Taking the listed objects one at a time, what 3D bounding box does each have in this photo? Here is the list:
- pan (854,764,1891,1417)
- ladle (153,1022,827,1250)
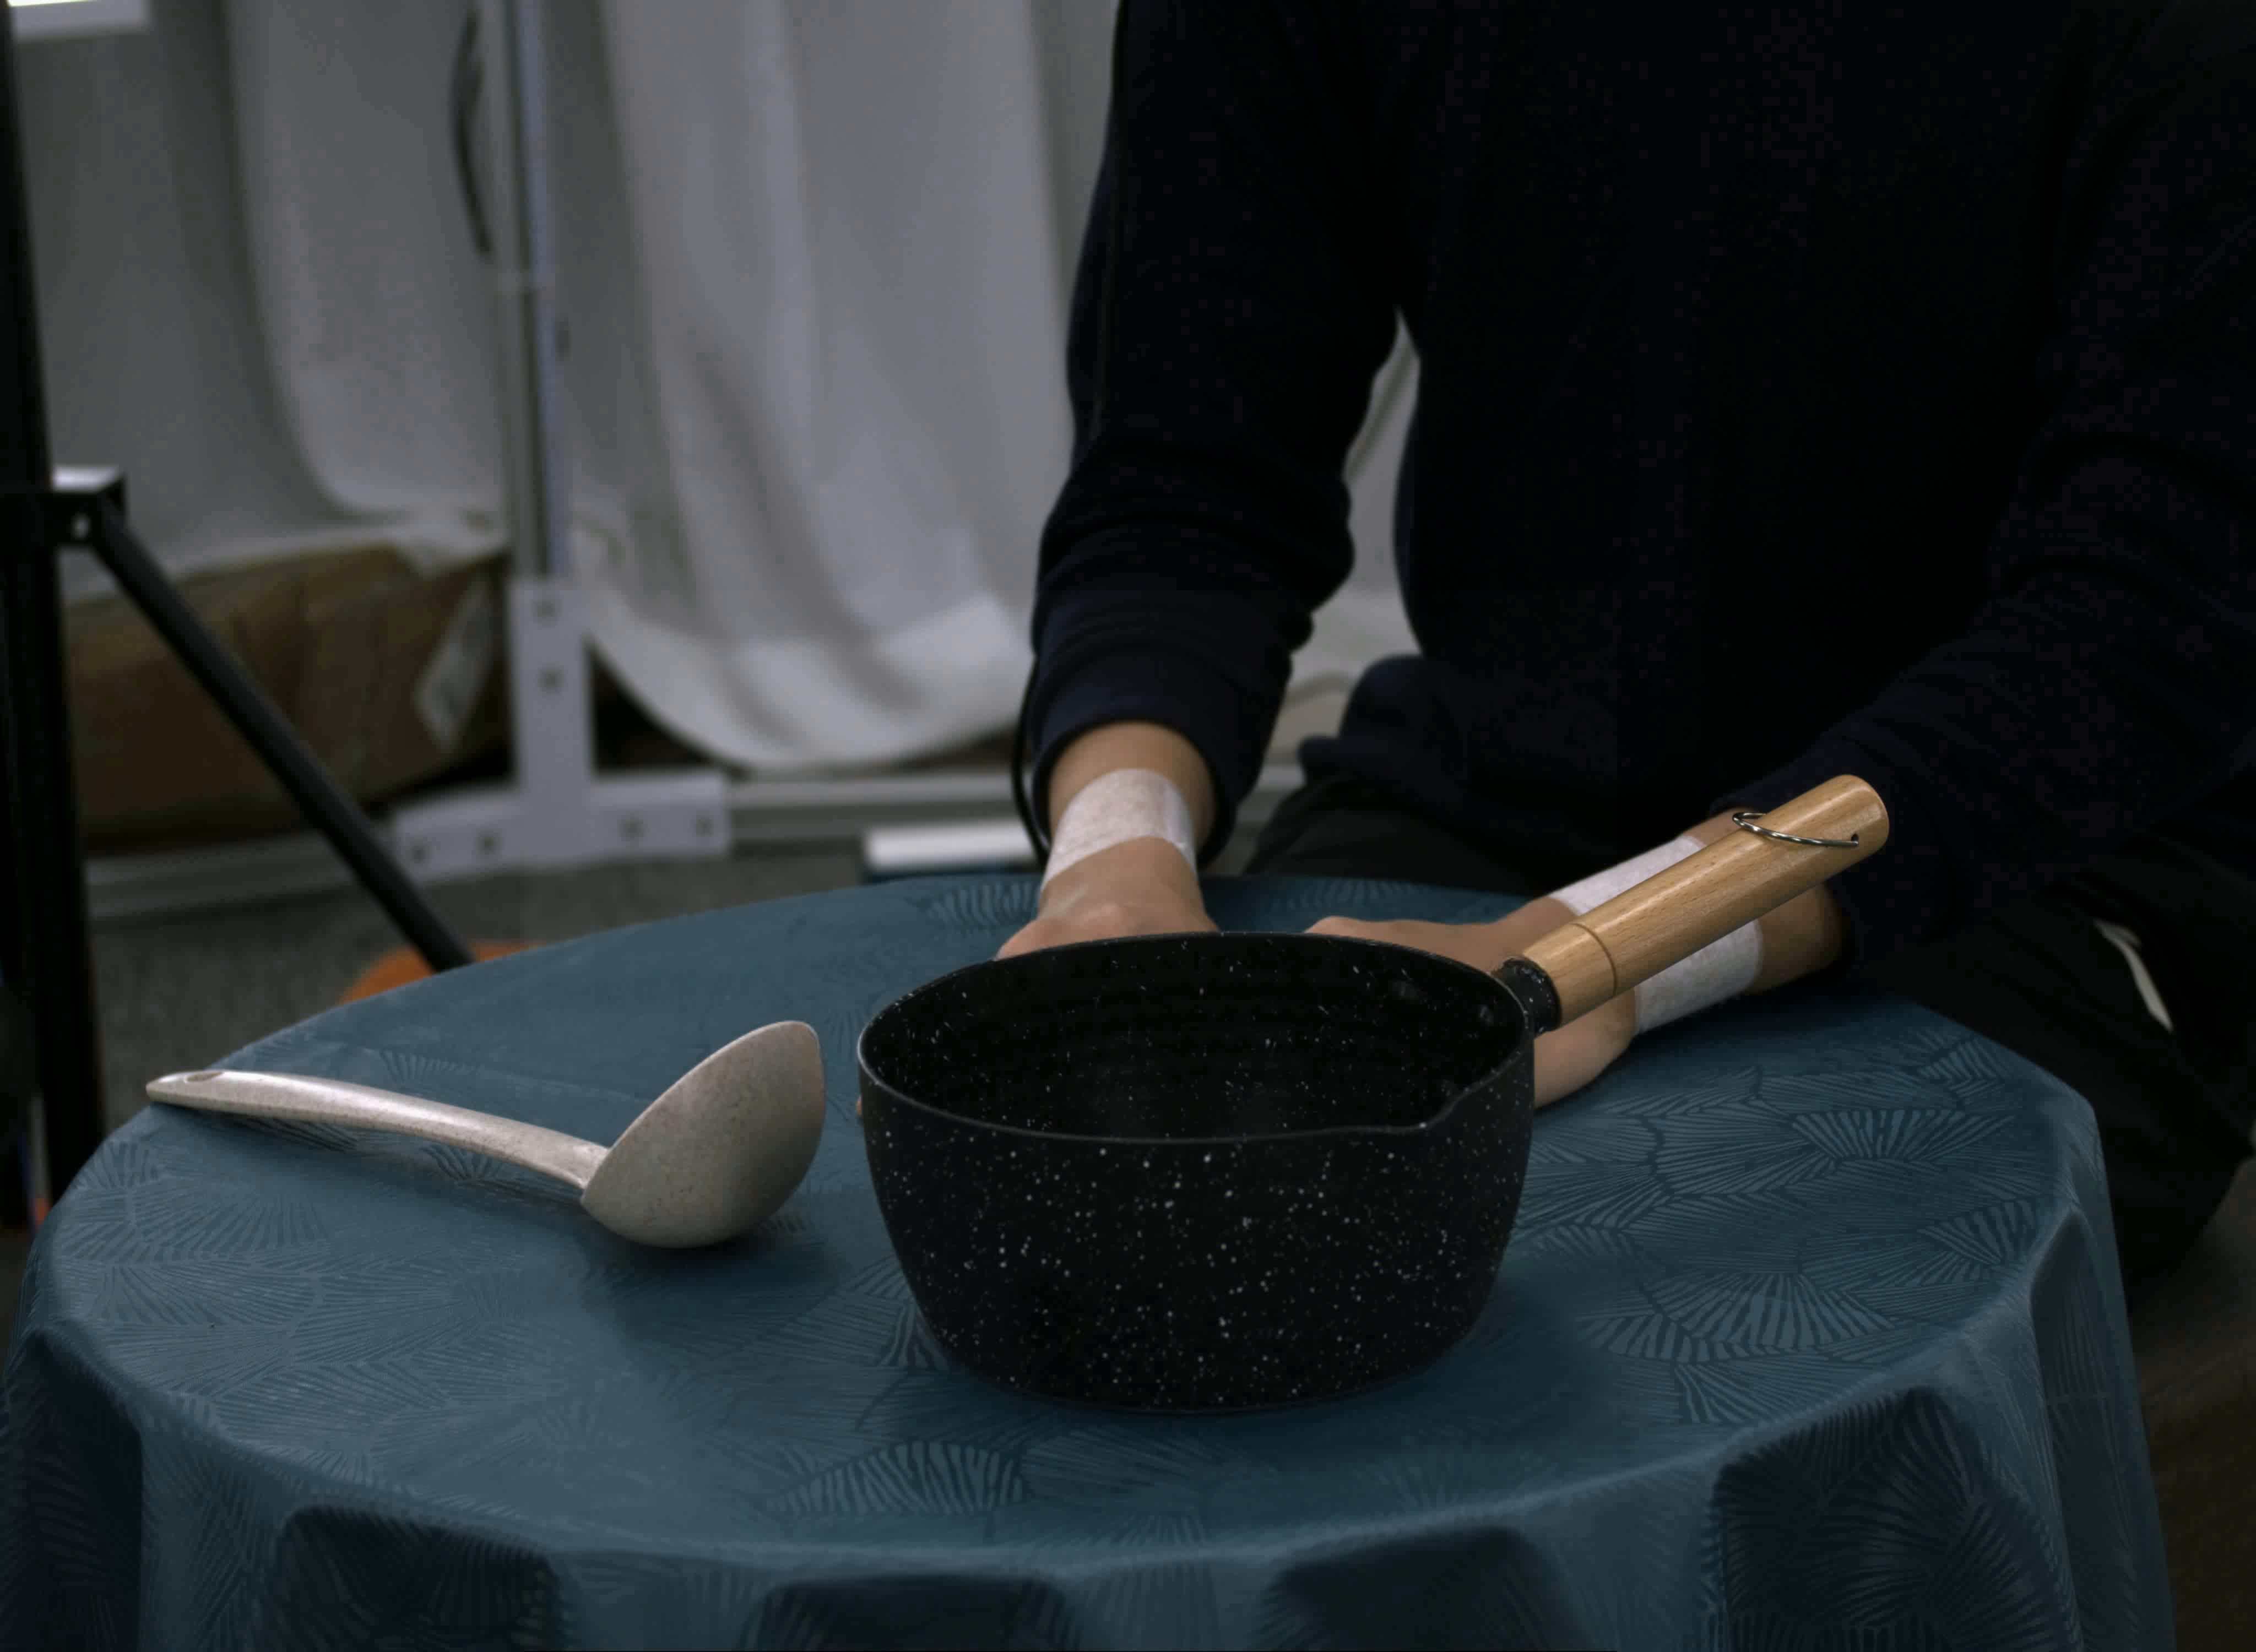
[{"bbox_3d":[0.083,0.069,1.485,0.335,0.108,0.212,-15,19,-33],"label":"pan"},{"bbox_3d":[-0.204,0.072,1.597,0.281,0.069,0.087,11,27,40],"label":"ladle"}]
